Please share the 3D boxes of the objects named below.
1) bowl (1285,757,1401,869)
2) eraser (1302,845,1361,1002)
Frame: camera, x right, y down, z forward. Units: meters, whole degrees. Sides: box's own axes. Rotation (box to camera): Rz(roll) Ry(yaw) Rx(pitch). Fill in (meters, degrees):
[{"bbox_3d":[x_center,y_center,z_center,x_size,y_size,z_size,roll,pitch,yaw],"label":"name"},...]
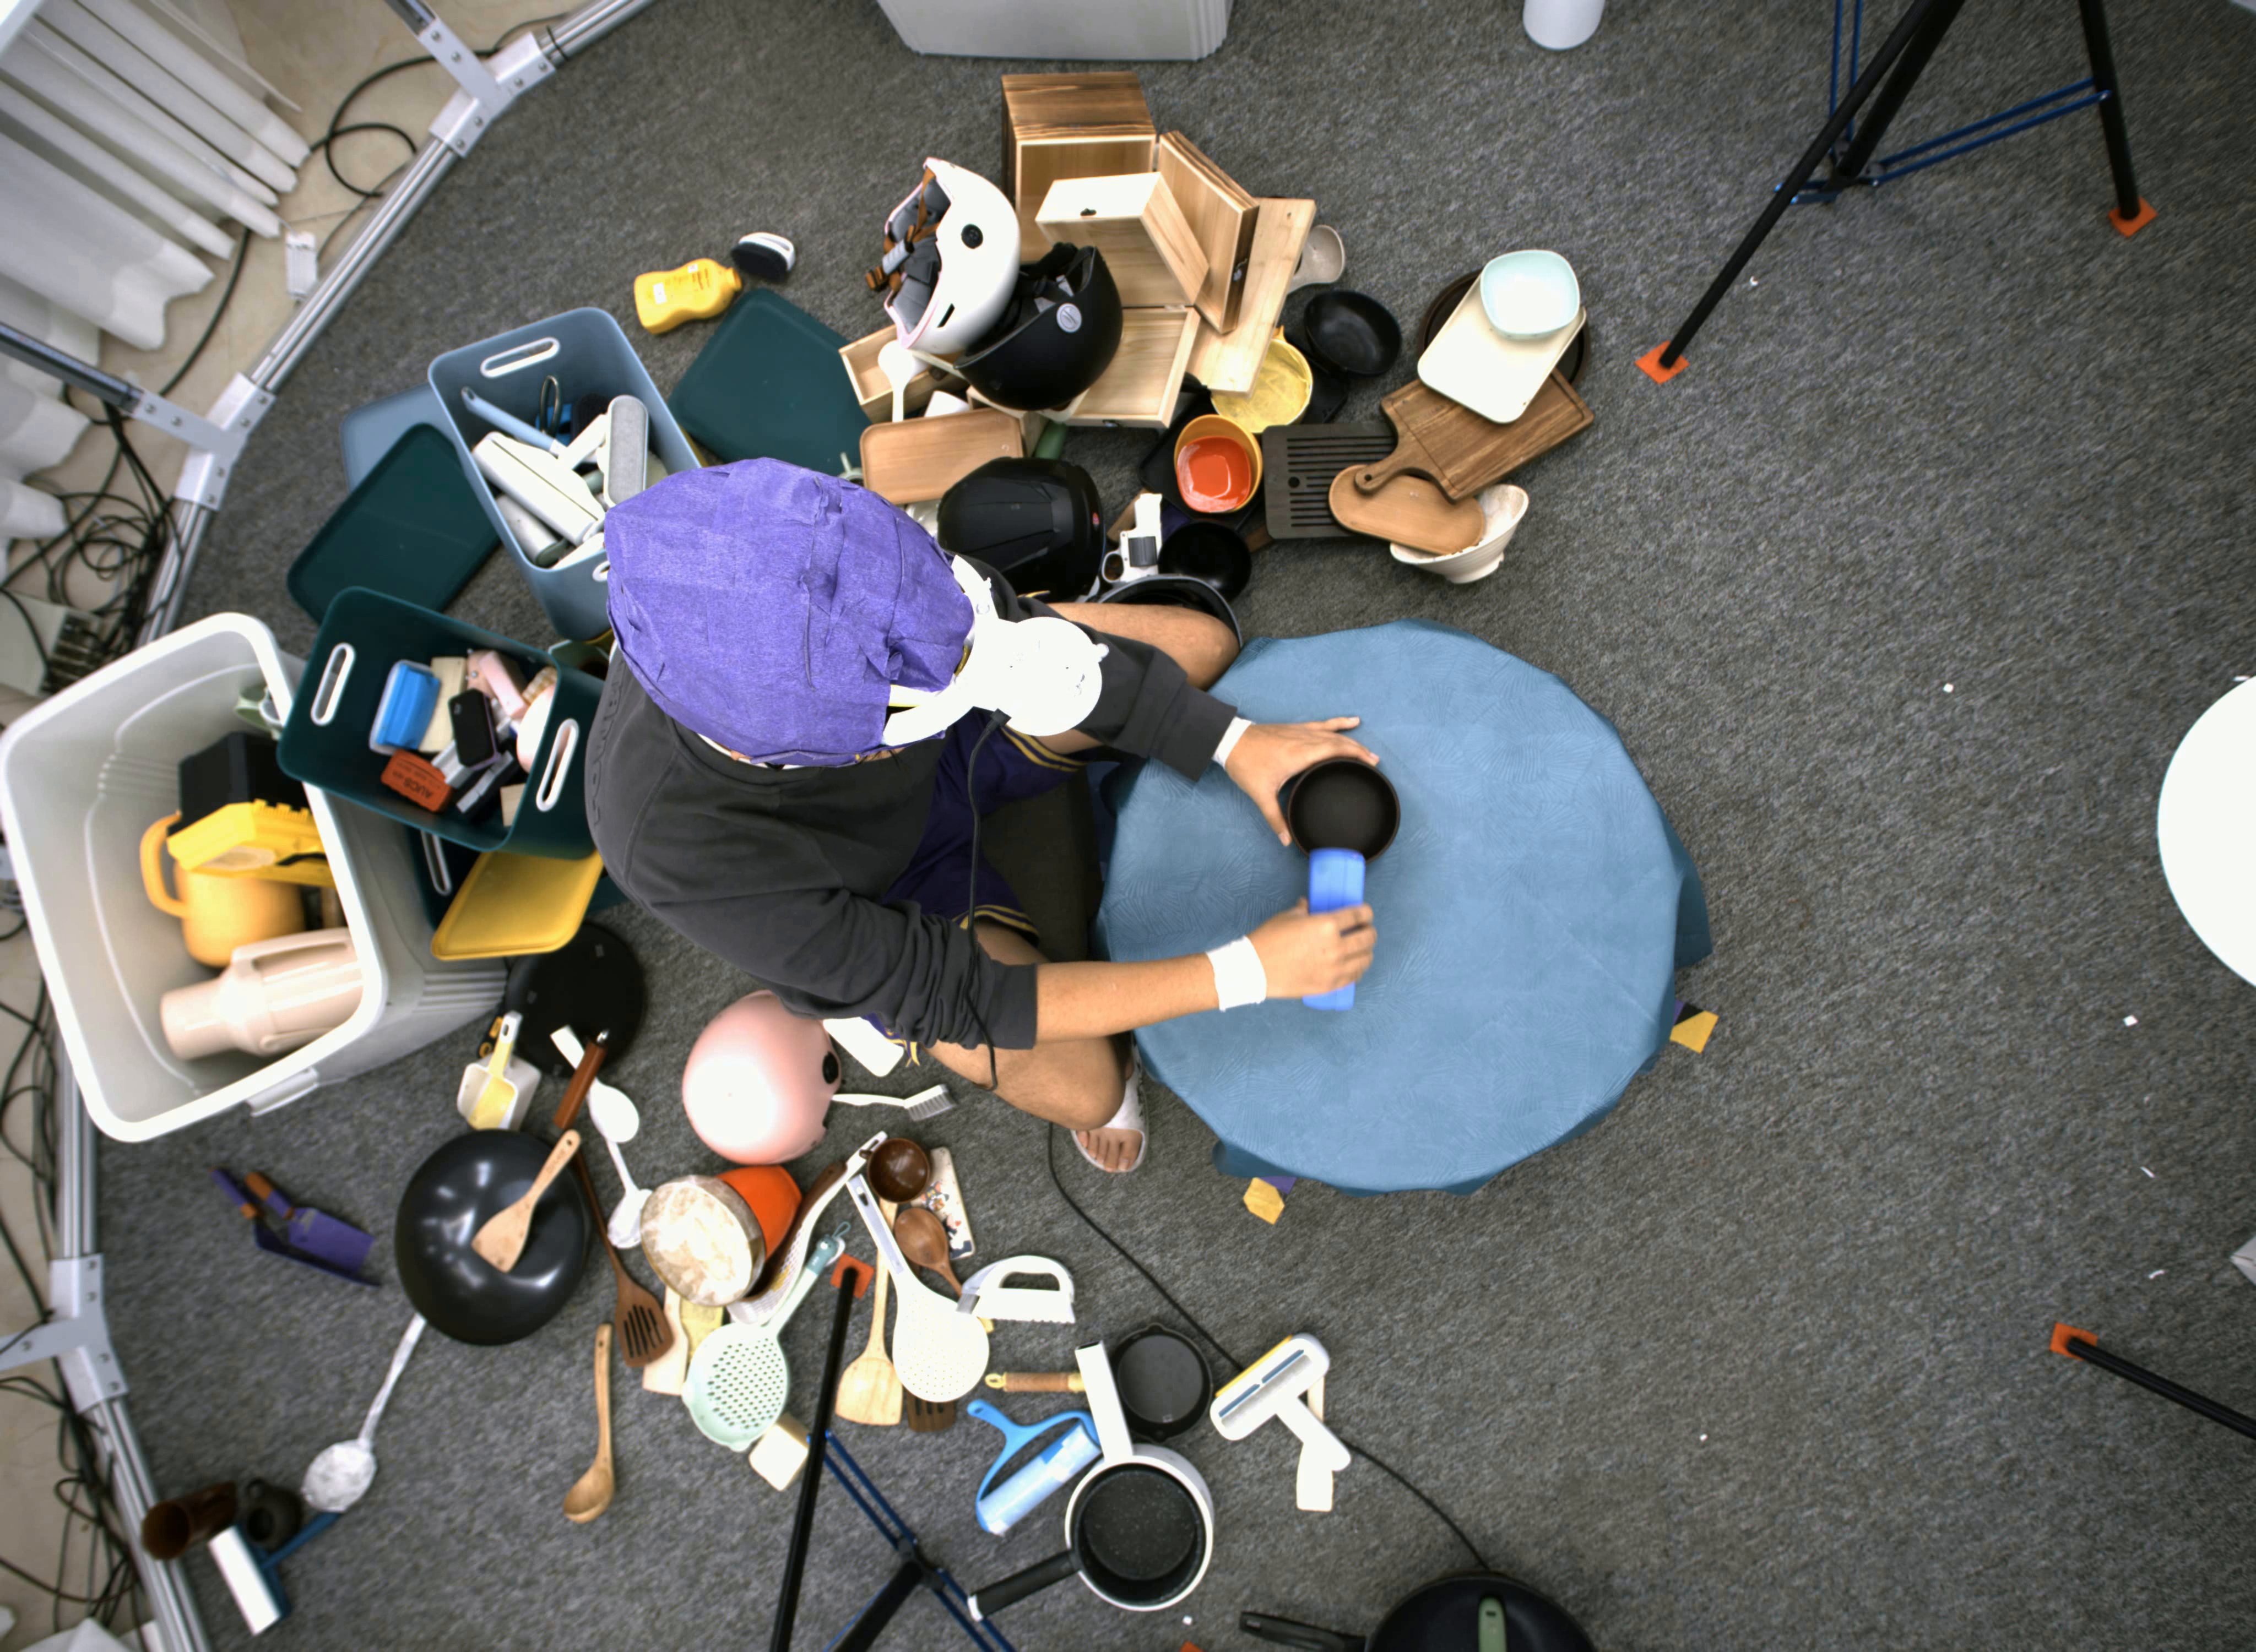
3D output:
[{"bbox_3d":[0.222,-0.014,1.432,0.118,0.069,0.118,0,93,8],"label":"bowl"},{"bbox_3d":[0.204,0.099,1.389,0.054,0.047,0.164,1,108,2],"label":"eraser"}]
